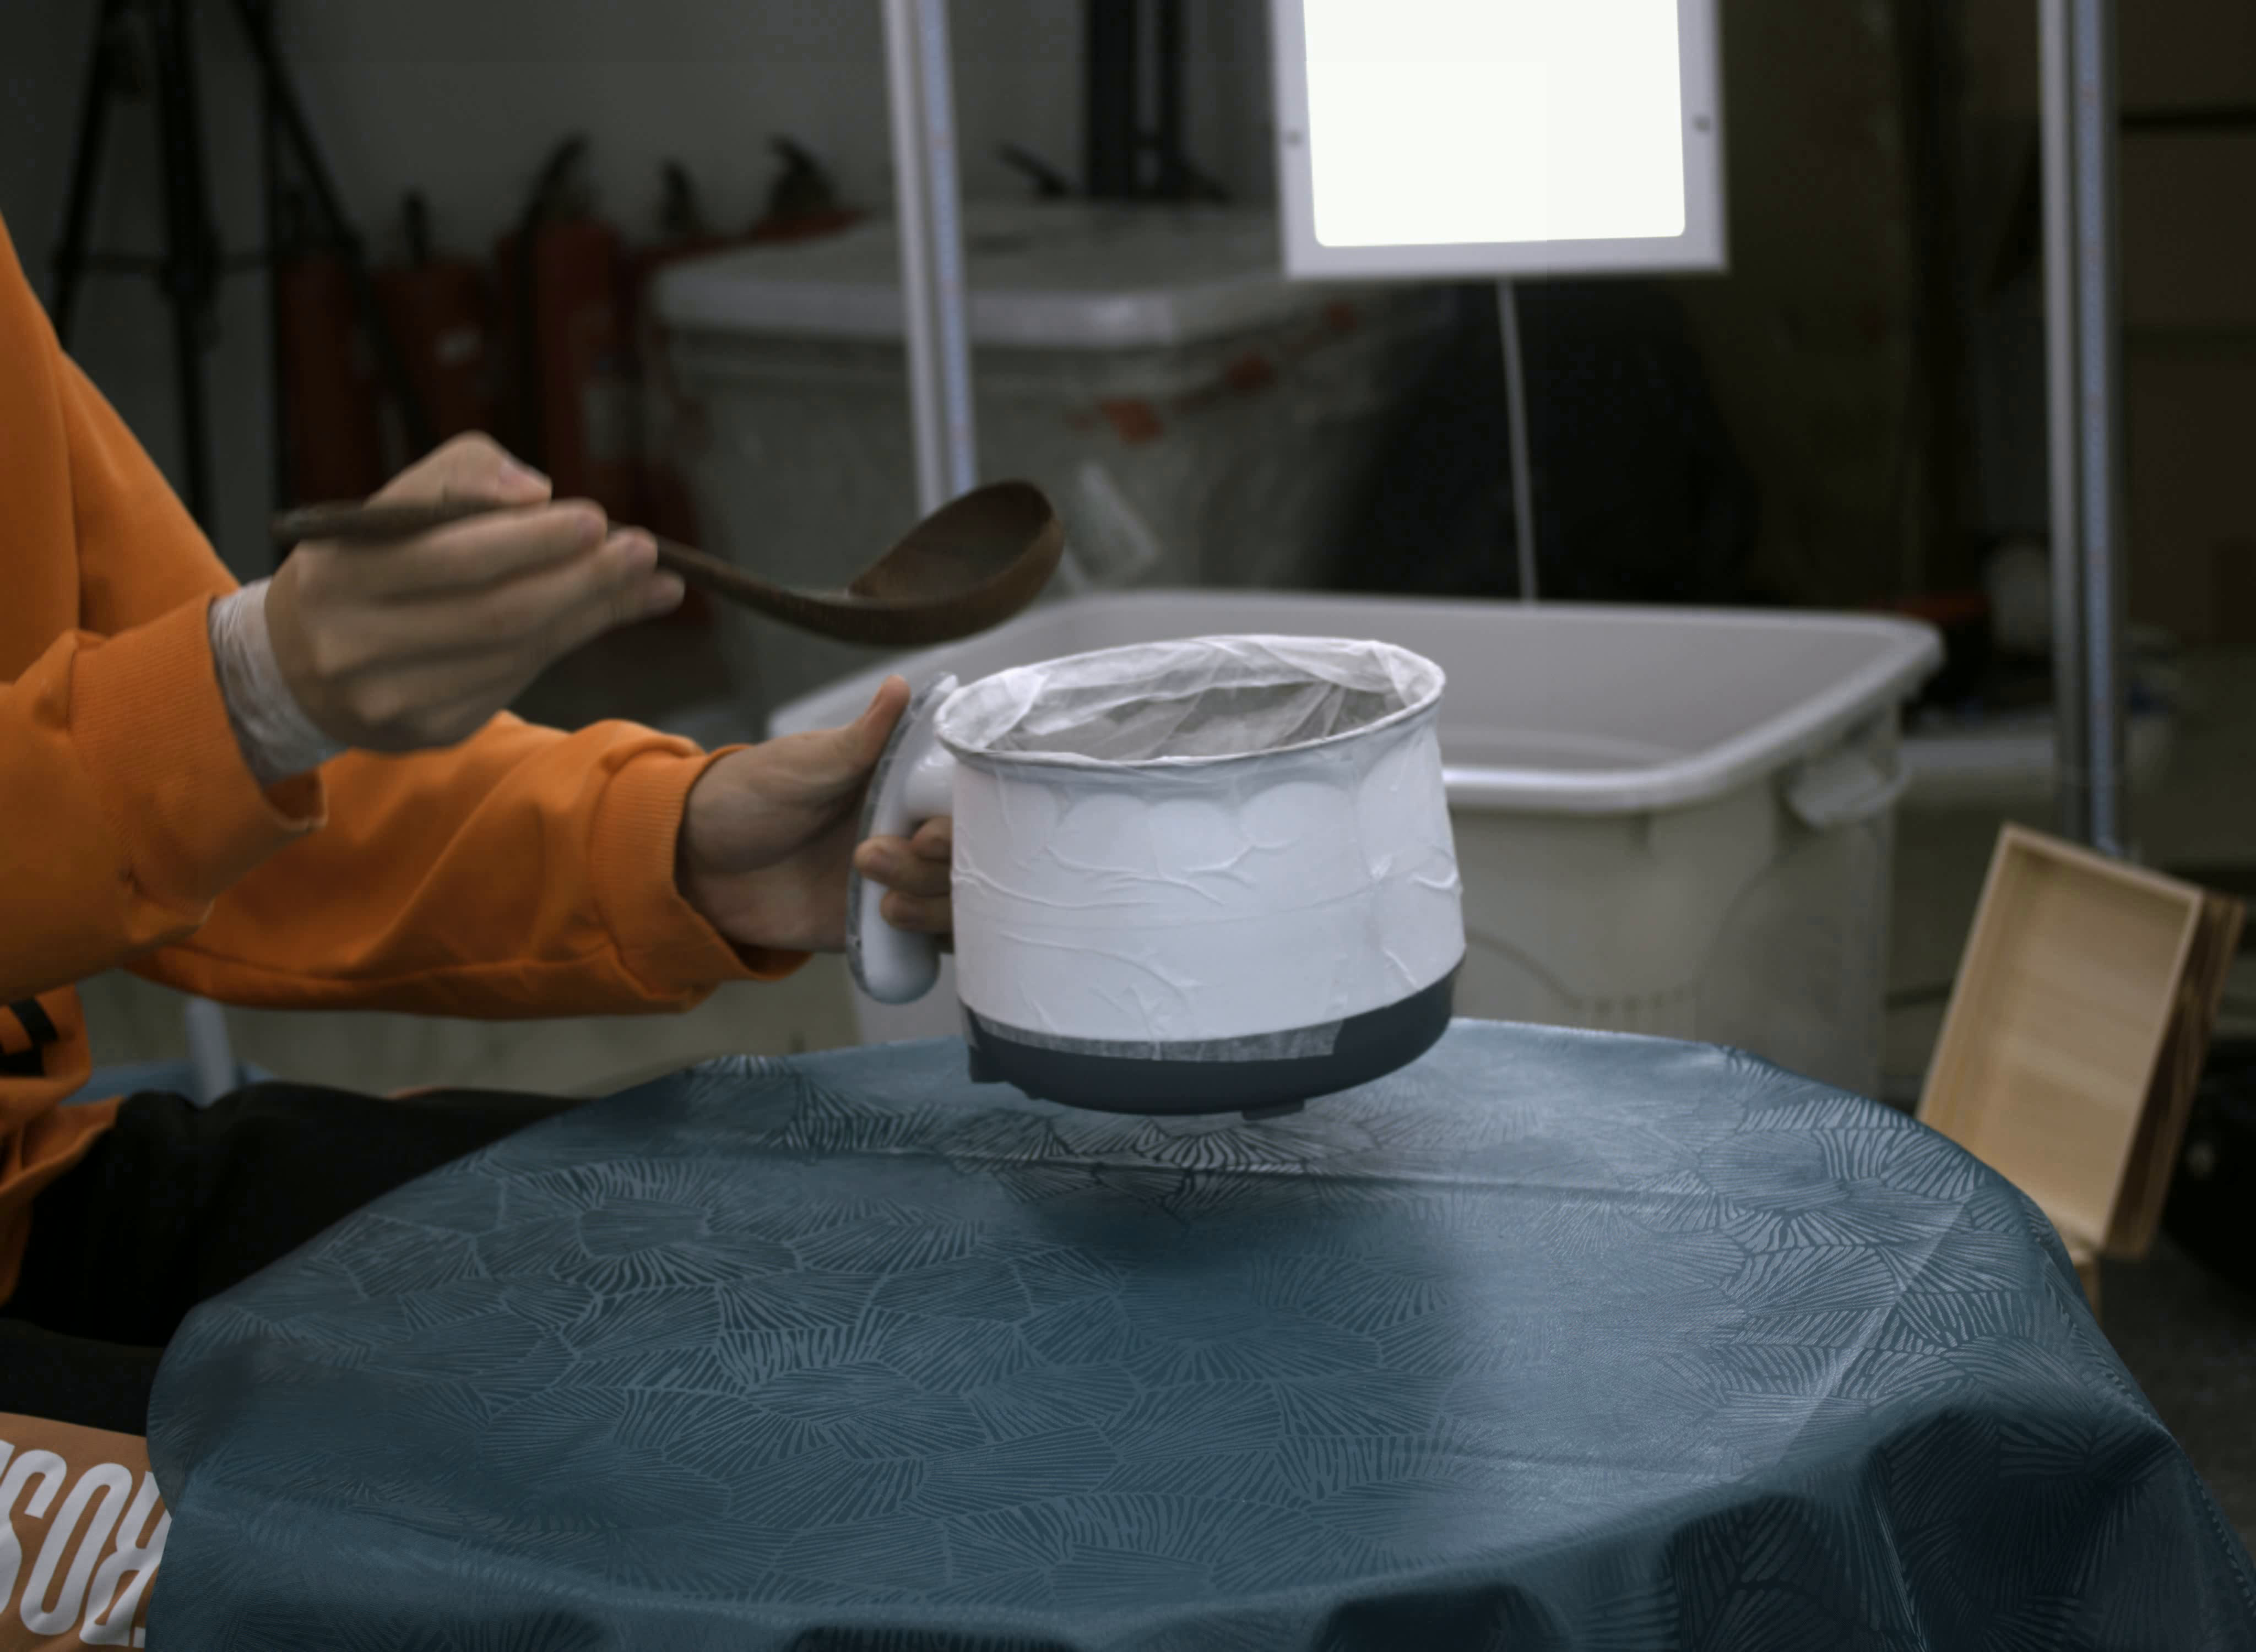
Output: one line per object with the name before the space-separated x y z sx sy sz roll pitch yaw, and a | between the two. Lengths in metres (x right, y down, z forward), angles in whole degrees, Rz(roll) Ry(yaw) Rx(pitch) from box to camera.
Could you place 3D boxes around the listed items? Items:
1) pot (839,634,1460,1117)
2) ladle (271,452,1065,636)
pot | 0.001 0.015 1.908 0.238 0.137 0.175 3 16 30
ladle | -0.142 -0.108 1.752 0.268 0.071 0.077 11 -3 -33
